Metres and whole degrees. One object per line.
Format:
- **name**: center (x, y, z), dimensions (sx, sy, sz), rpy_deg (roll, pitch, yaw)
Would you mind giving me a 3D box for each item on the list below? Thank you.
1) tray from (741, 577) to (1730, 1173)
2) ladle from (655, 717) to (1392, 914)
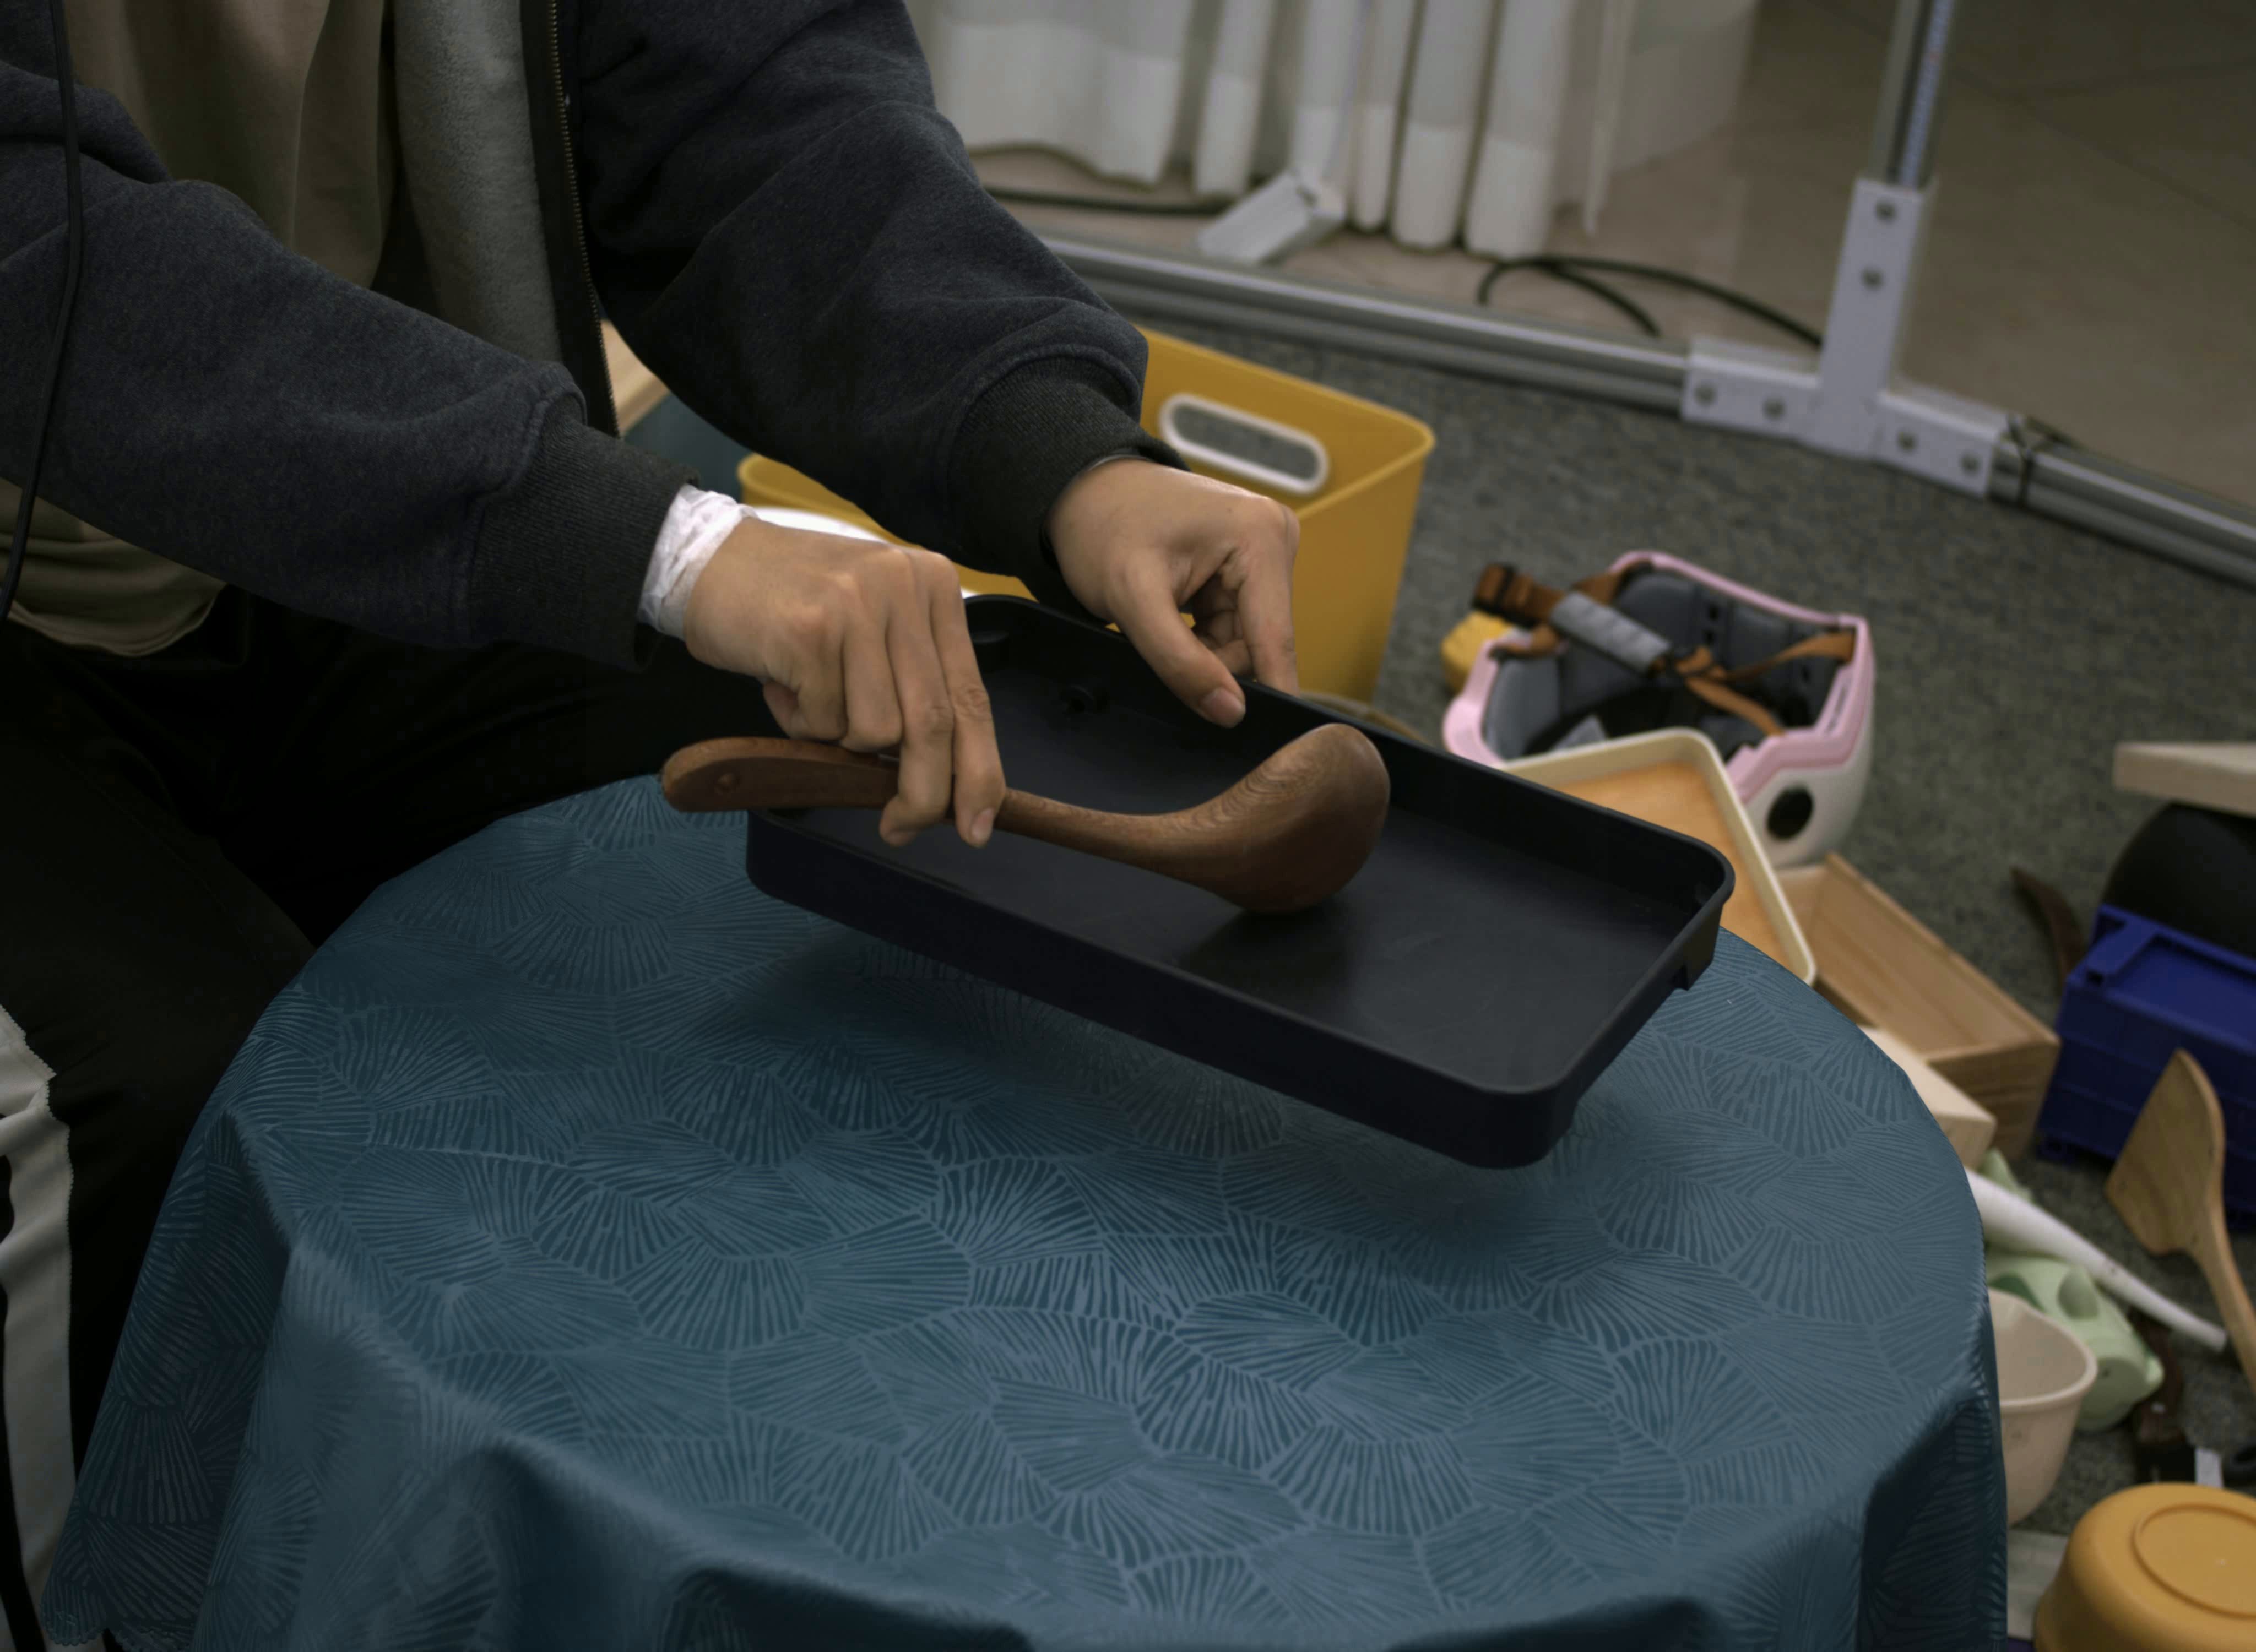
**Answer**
- **tray**: center (0.036, 0.012, 1.865), dimensions (0.319, 0.037, 0.184), rpy_deg (22, 36, 21)
- **ladle**: center (-0.035, -0.014, 1.833), dimensions (0.259, 0.076, 0.065), rpy_deg (8, 34, -10)
